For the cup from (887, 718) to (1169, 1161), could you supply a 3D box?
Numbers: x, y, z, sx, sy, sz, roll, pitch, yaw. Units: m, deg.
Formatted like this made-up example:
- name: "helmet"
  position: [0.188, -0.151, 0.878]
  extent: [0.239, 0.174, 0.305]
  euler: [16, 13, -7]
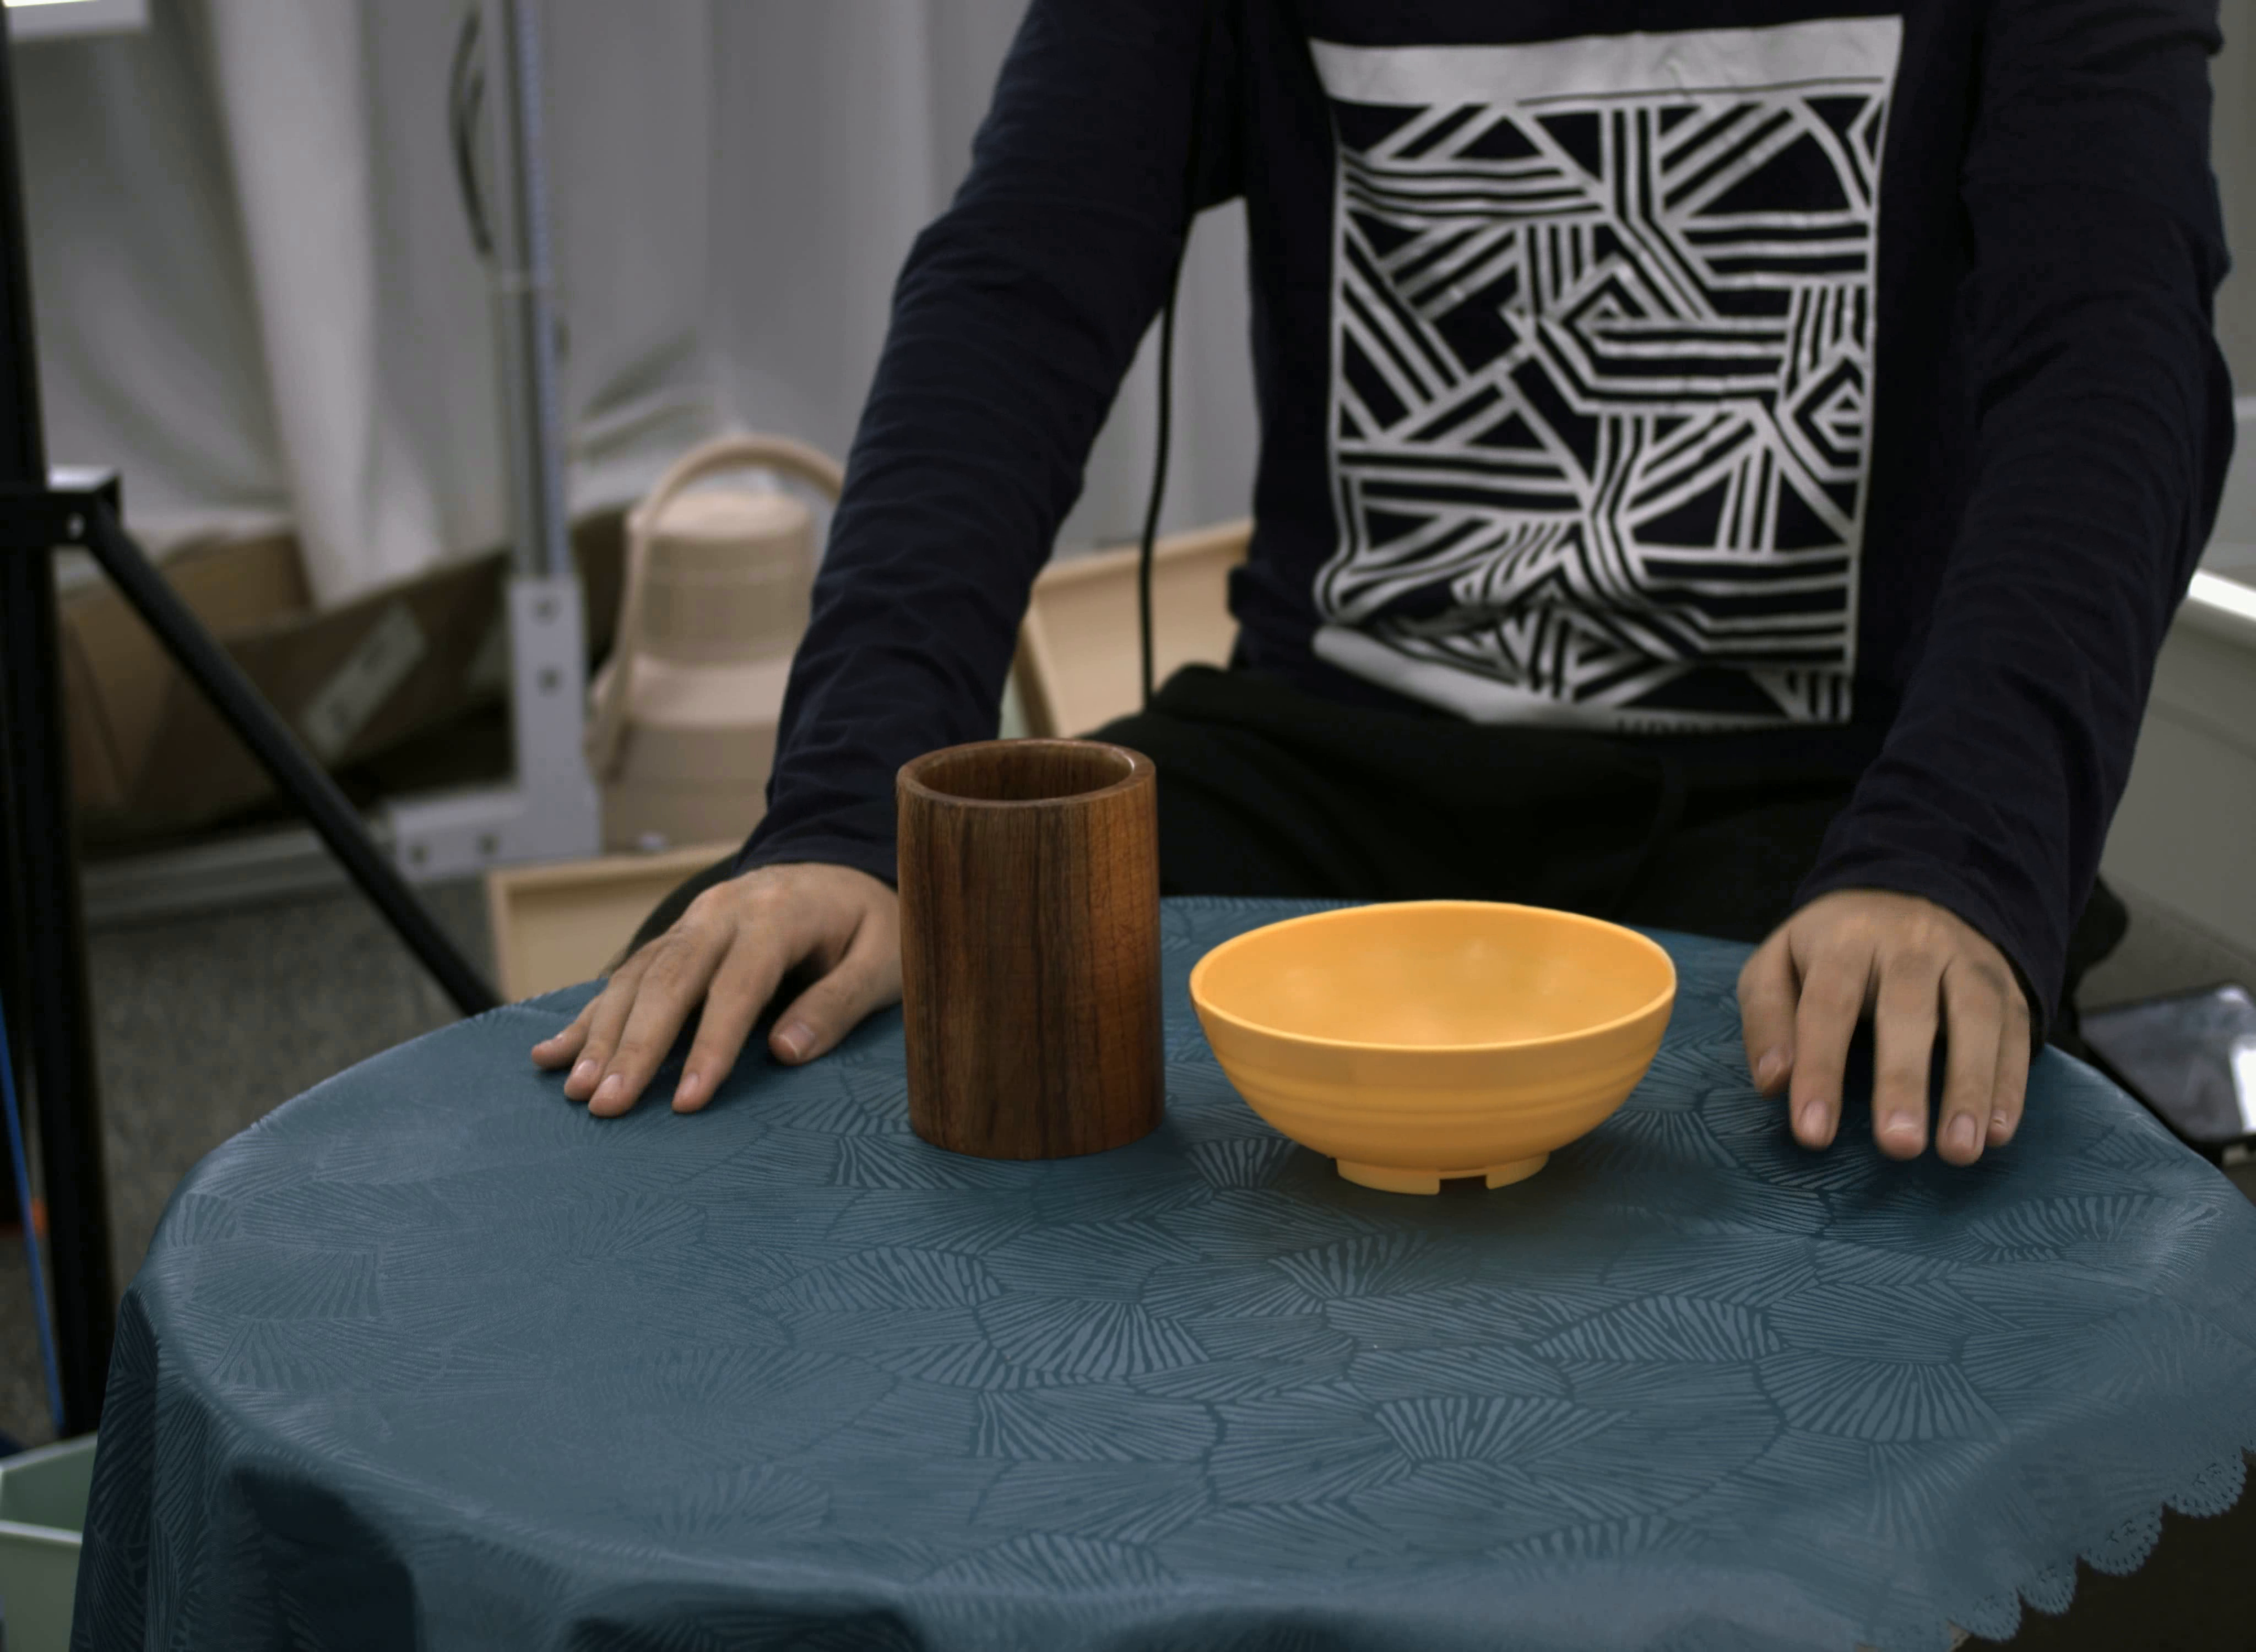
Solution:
- name: "cup"
  position: [-0.032, 0.033, 1.616]
  extent: [0.087, 0.118, 0.088]
  euler: [0, 15, -1]

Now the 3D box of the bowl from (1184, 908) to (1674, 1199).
- name: "bowl"
  position: [0.089, 0.072, 1.570]
  extent: [0.144, 0.060, 0.146]
  euler: [-2, 14, -1]
